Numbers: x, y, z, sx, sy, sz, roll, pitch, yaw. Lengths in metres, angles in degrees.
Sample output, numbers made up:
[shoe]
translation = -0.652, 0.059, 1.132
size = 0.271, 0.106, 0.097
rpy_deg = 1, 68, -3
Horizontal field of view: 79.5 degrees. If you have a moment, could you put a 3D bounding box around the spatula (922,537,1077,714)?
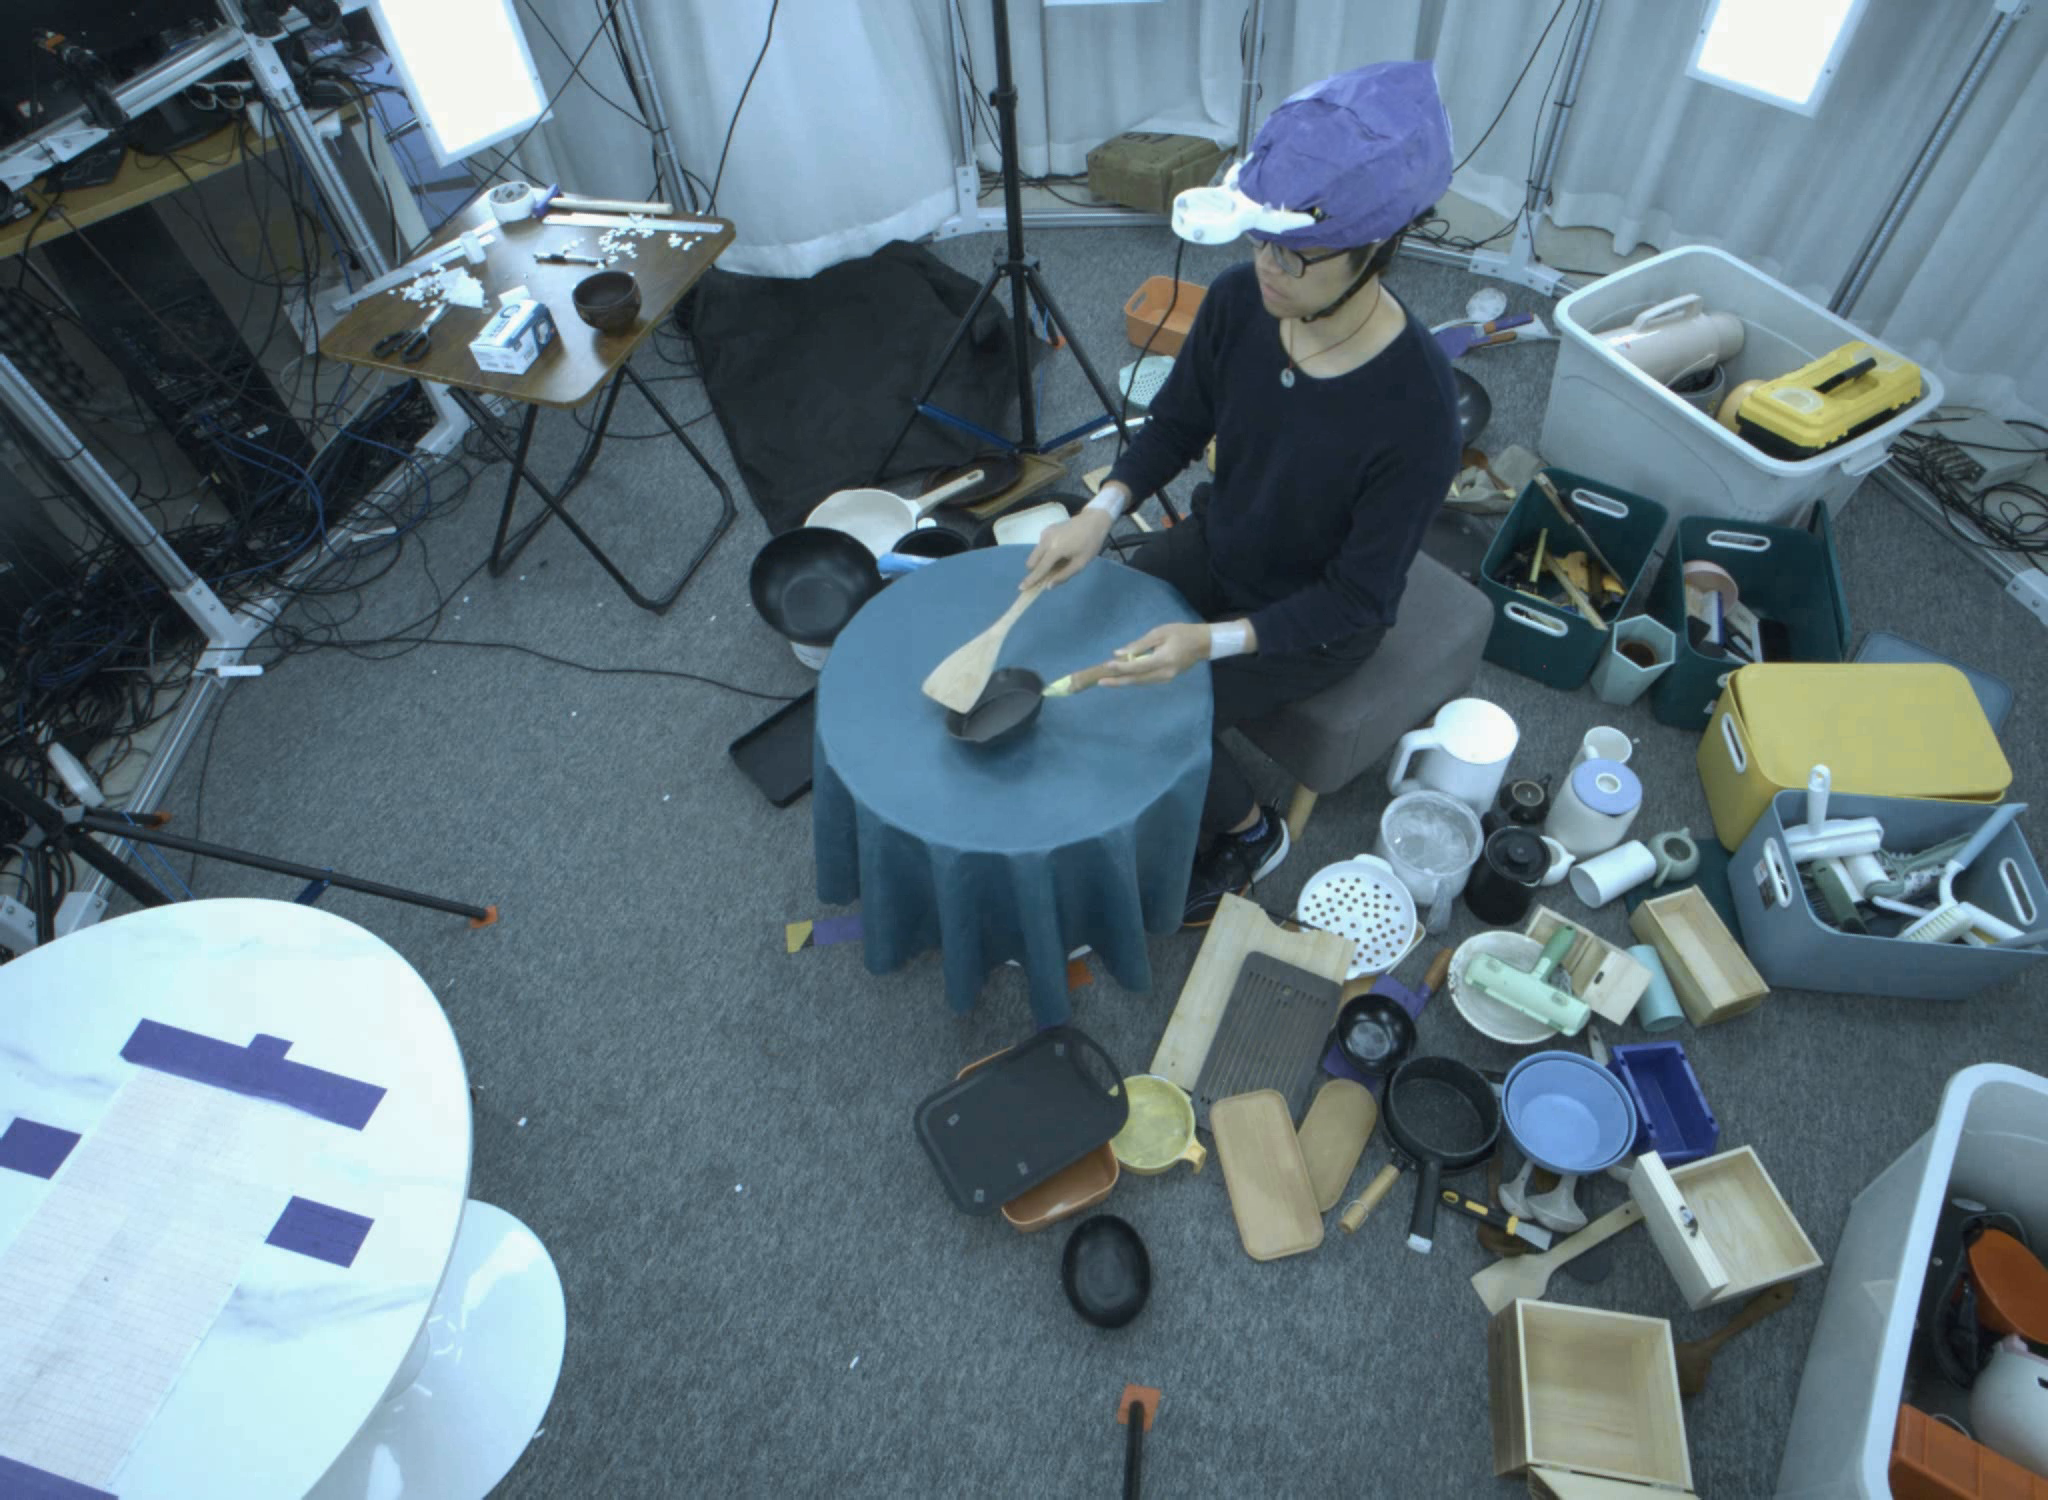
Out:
[spatula]
translation = -0.025, -0.191, 1.831
size = 0.080, 0.016, 0.328
rpy_deg = 39, 82, -5

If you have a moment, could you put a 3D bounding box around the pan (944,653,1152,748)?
[pan]
translation = 0.033, -0.080, 1.744
size = 0.320, 0.050, 0.168
rpy_deg = -13, 37, 23
